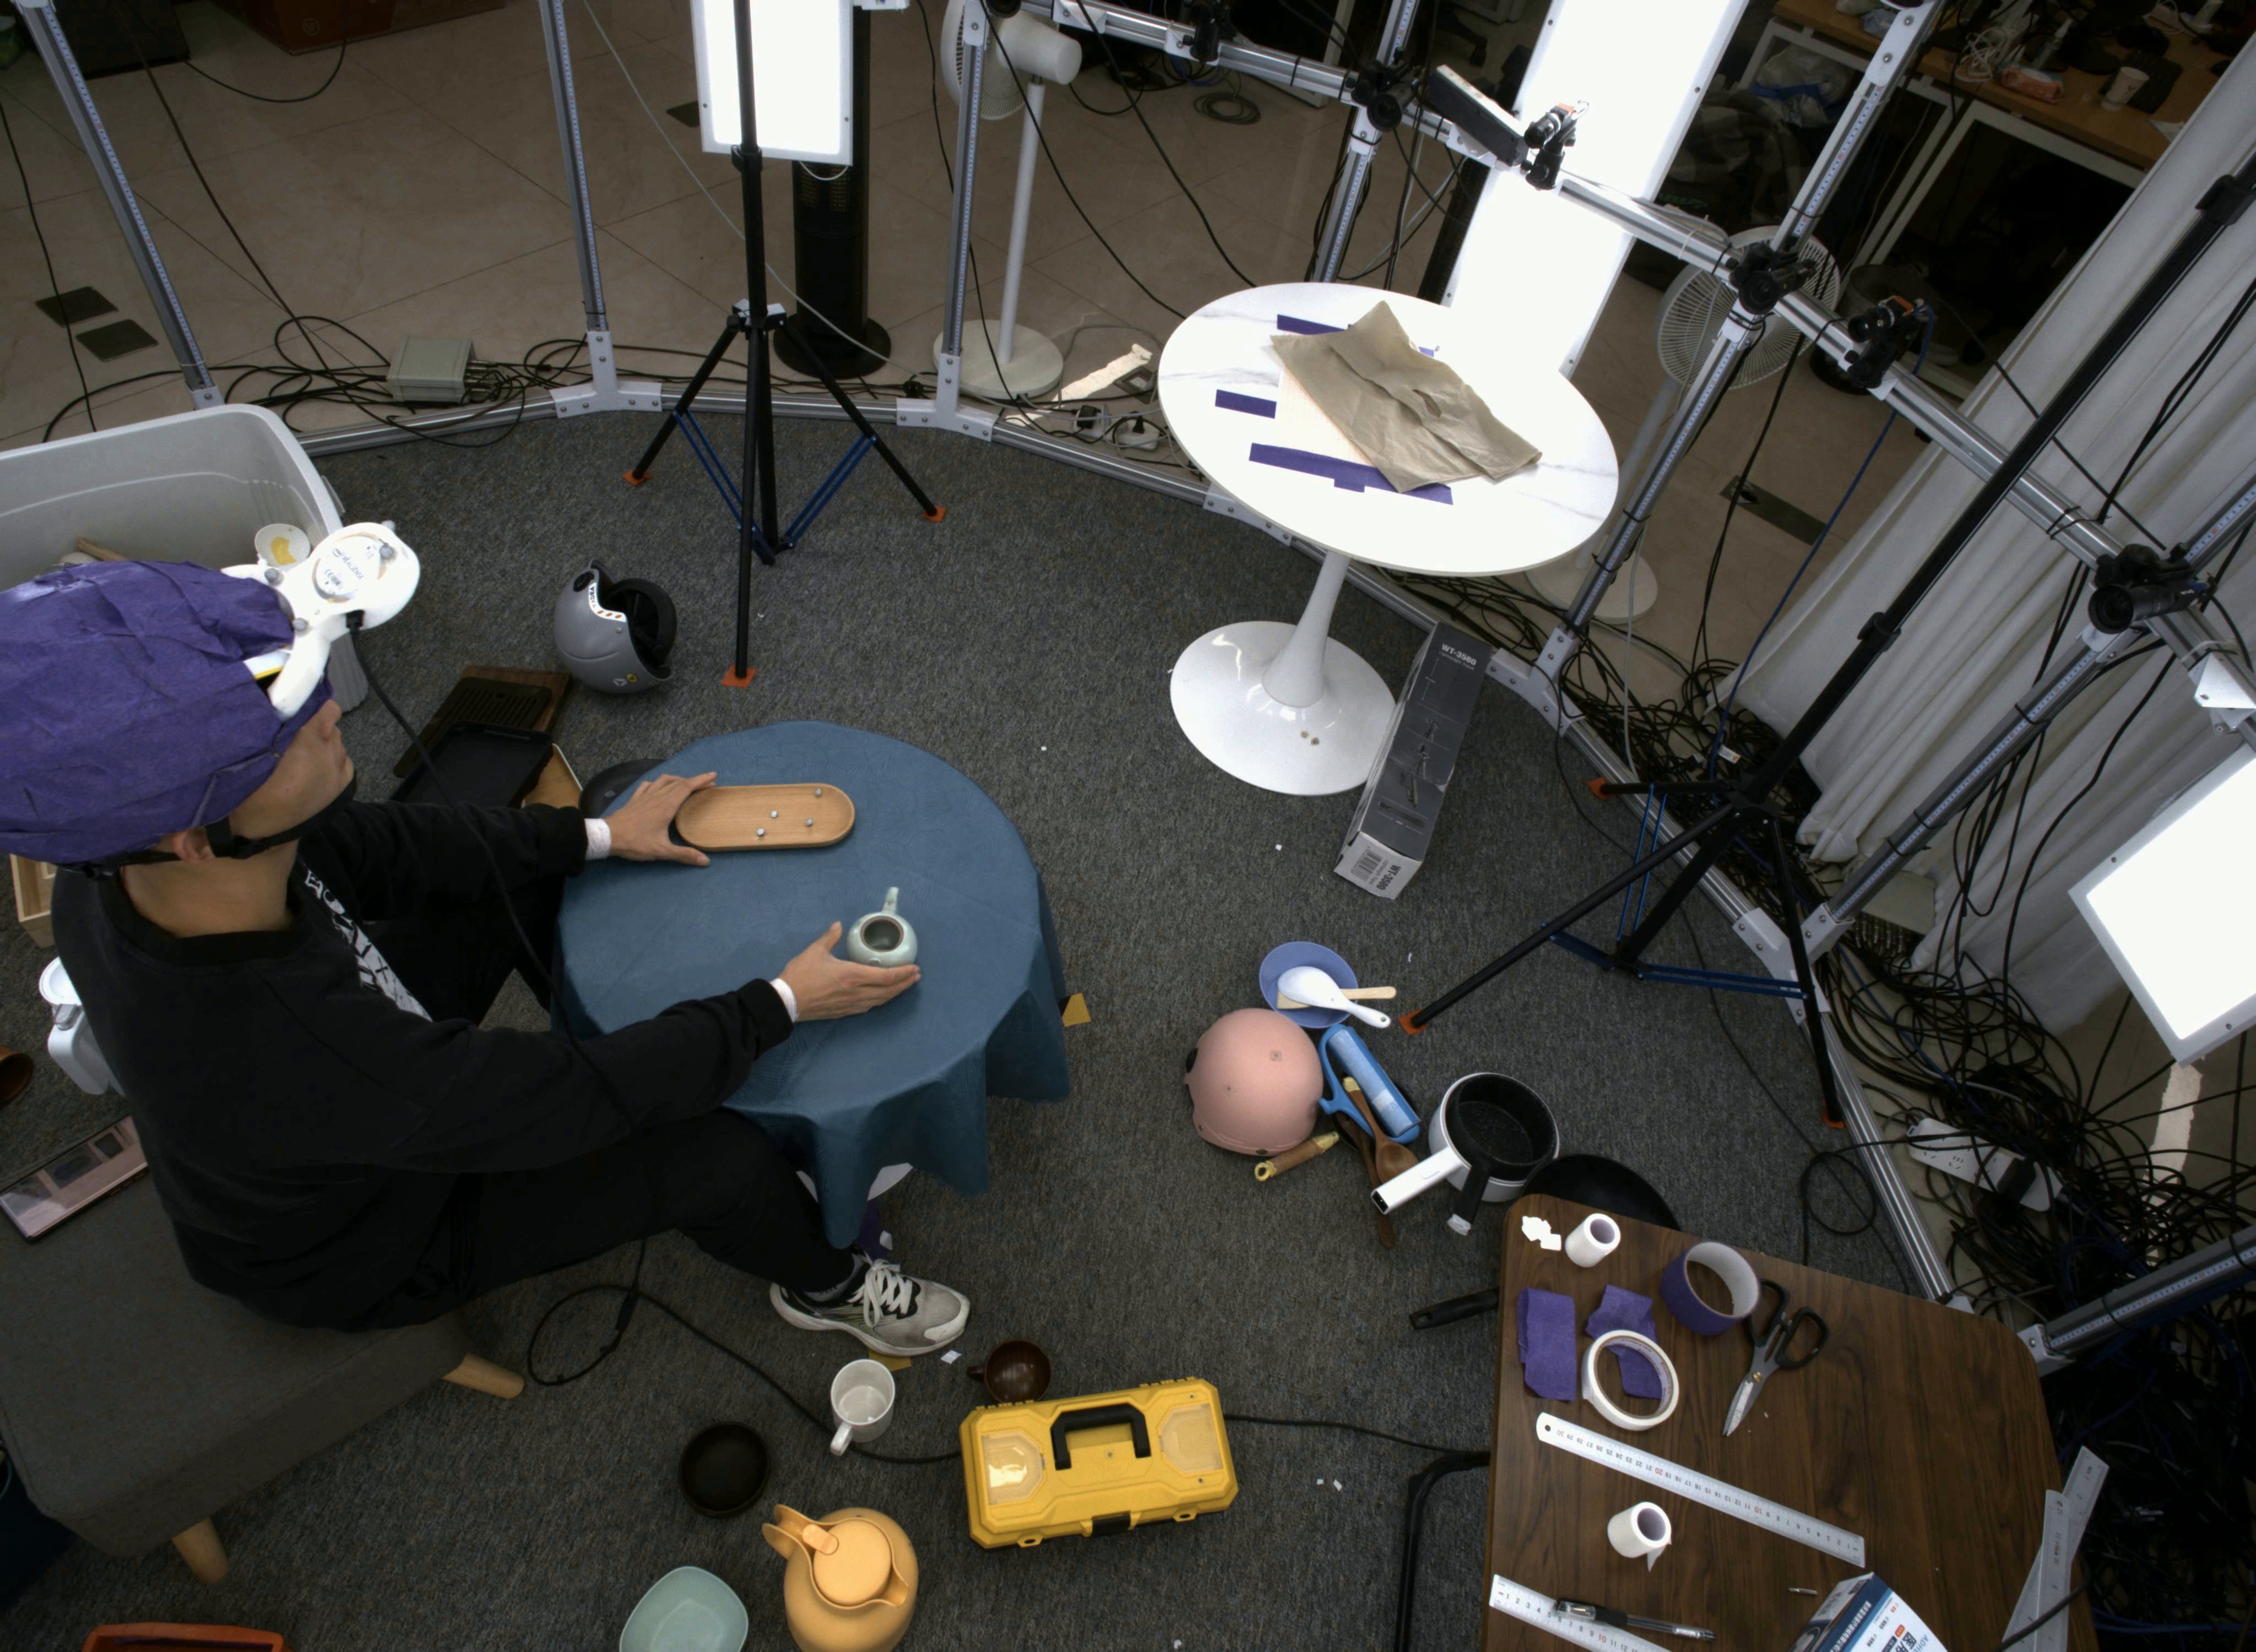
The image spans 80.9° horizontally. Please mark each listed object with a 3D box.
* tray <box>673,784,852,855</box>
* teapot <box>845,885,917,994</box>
[{"bbox_3d":[-0.480,-0.010,1.704,0.231,0.021,0.099,-4,54,-16],"label":"tray"},{"bbox_3d":[-0.303,0.146,1.597,0.088,0.076,0.141,12,50,-2],"label":"teapot"}]
